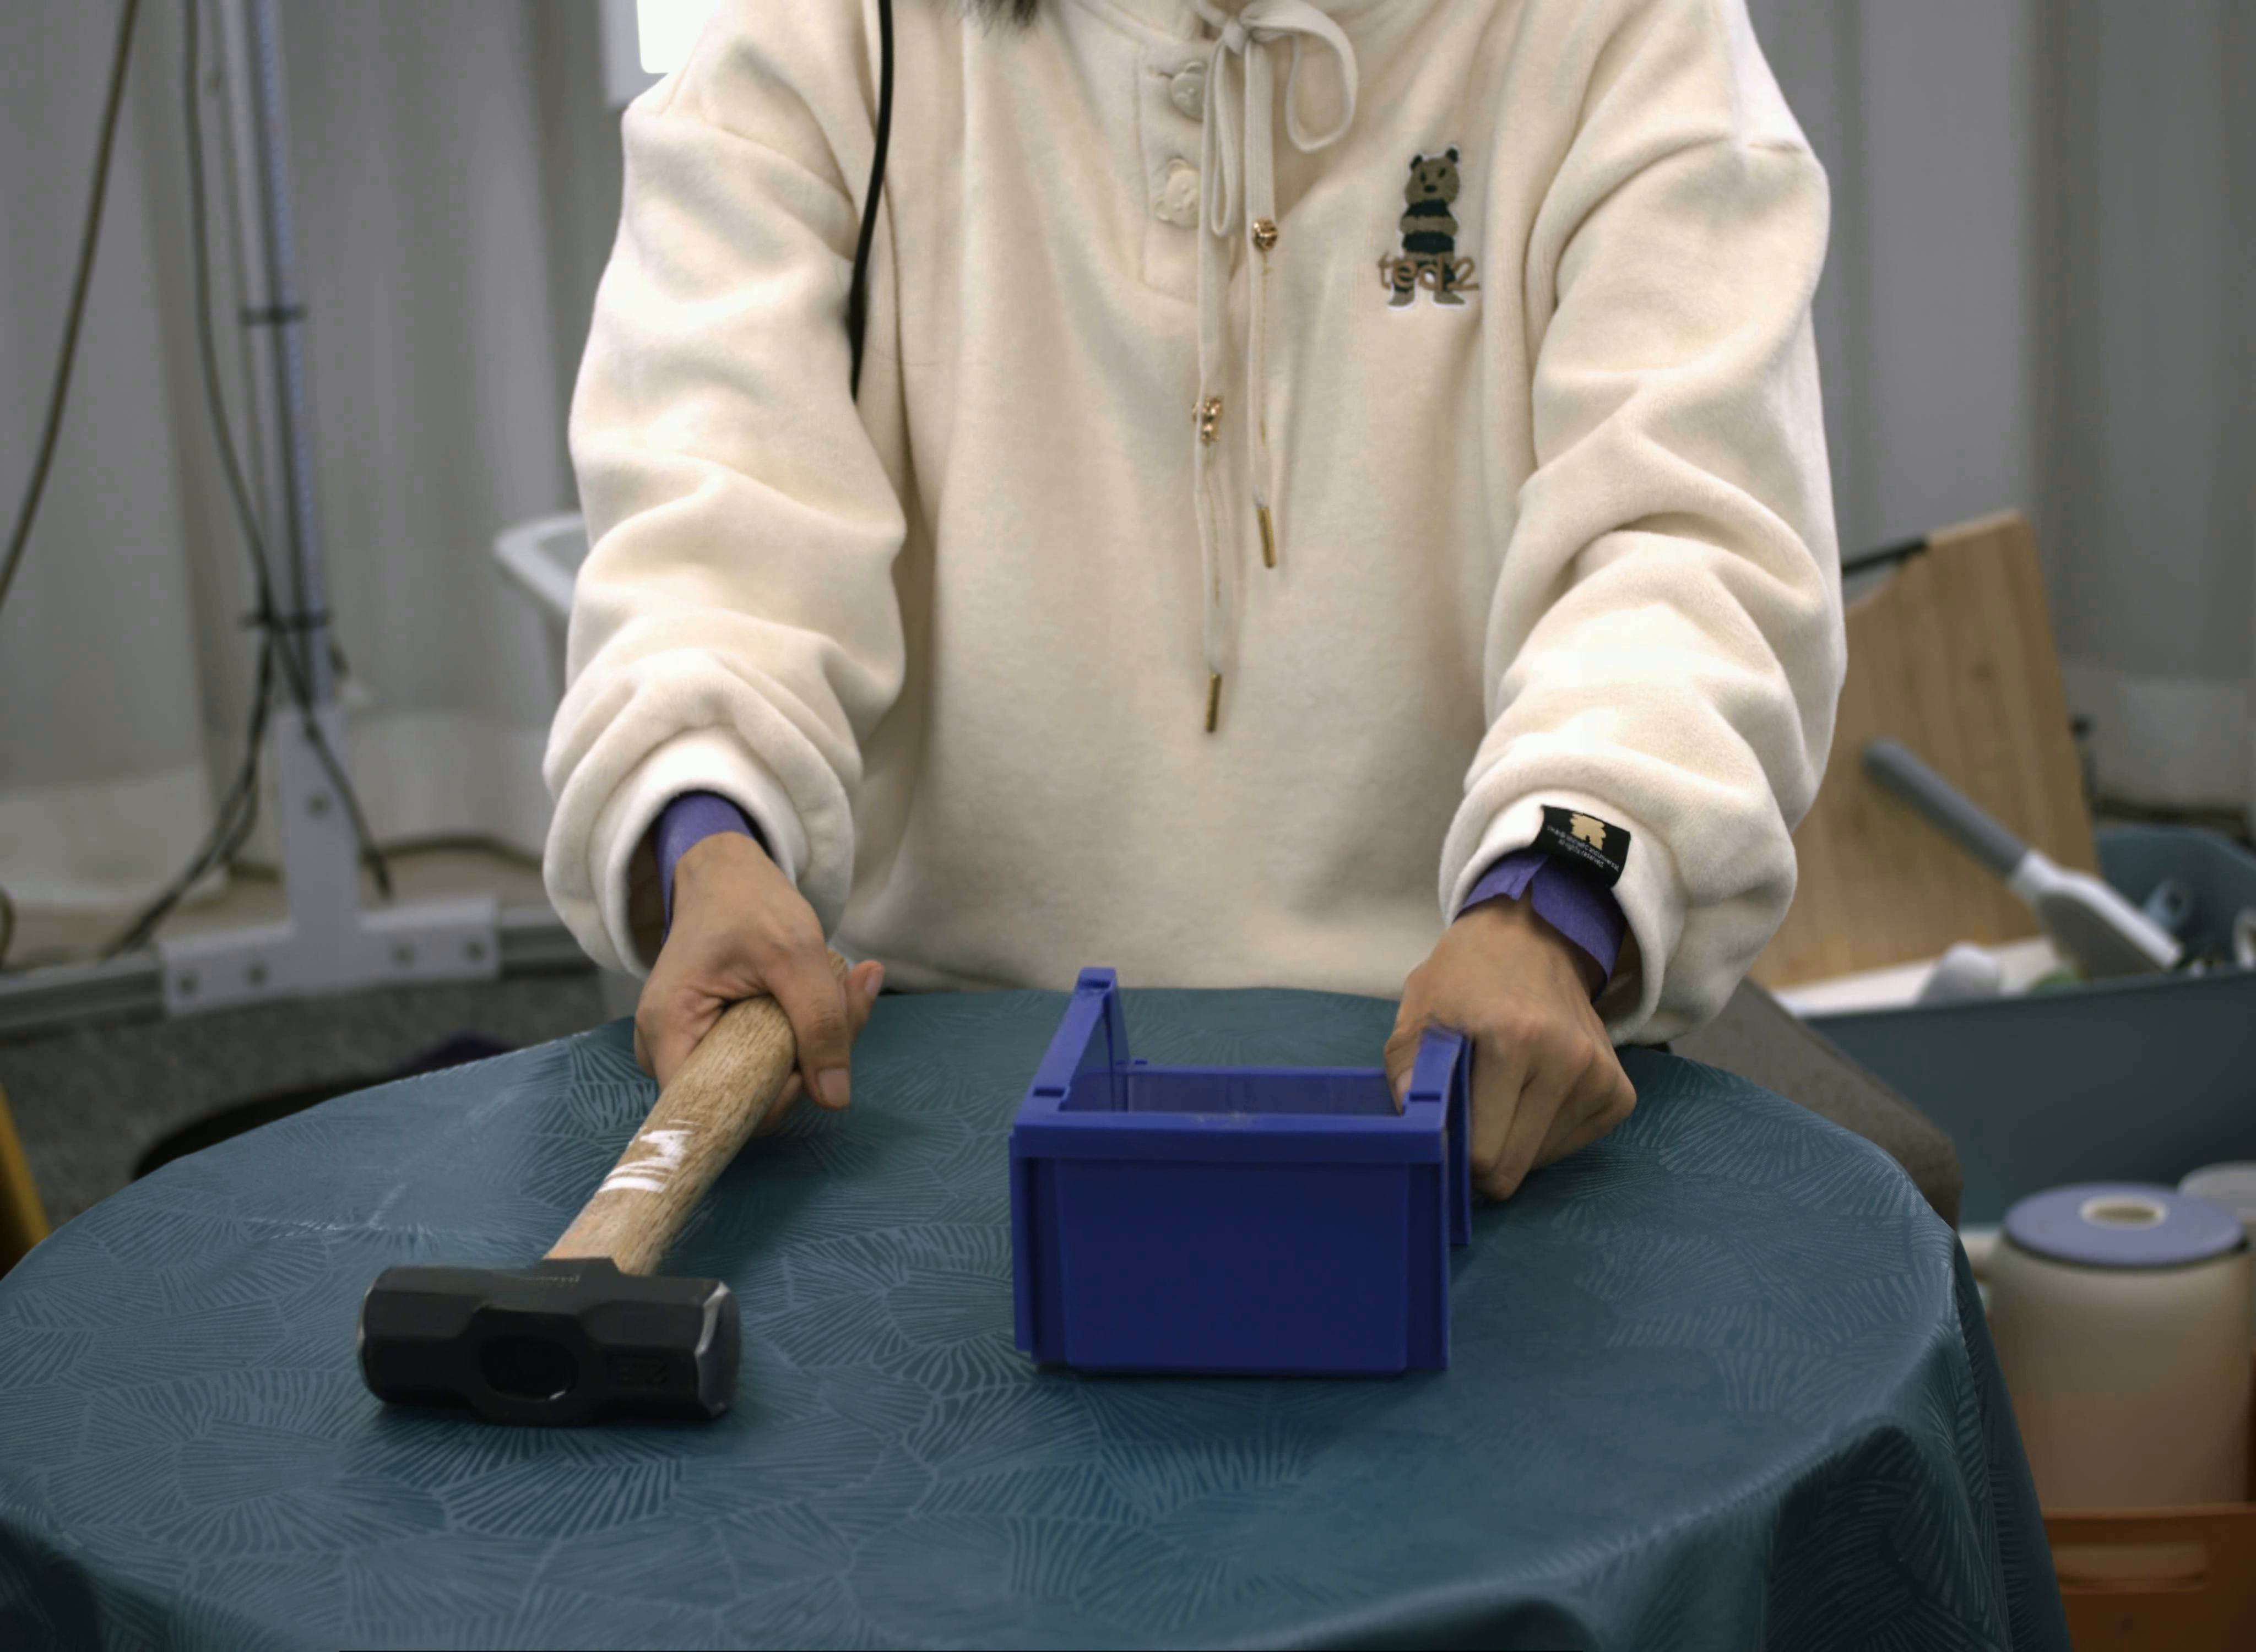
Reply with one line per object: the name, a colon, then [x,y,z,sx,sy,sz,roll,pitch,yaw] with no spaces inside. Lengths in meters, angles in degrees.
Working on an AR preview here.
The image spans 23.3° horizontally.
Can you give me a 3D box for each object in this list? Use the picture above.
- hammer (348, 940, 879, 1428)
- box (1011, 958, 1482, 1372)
hammer: [-0.134,0.101,1.671,0.107,0.038,0.307,1,20,14]
box: [0.037,0.095,1.619,0.124,0.081,0.180,0,17,8]
